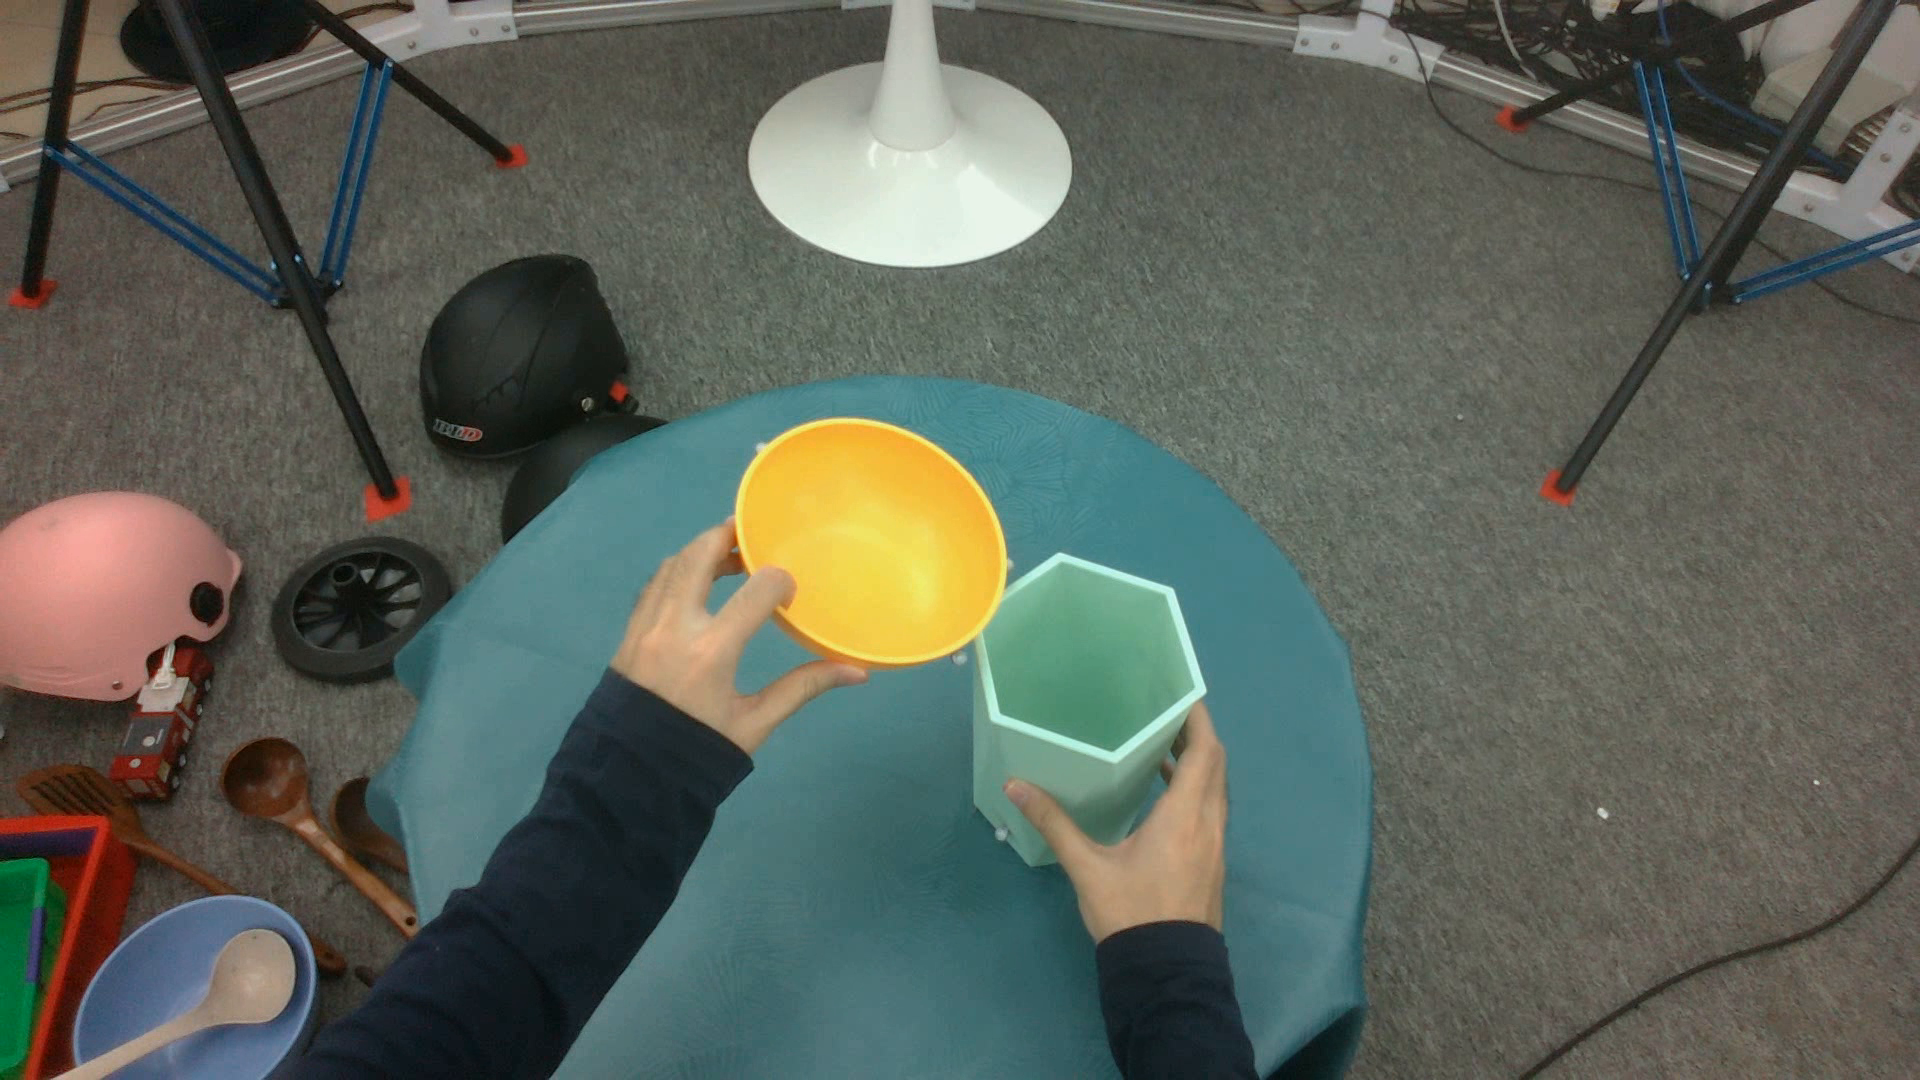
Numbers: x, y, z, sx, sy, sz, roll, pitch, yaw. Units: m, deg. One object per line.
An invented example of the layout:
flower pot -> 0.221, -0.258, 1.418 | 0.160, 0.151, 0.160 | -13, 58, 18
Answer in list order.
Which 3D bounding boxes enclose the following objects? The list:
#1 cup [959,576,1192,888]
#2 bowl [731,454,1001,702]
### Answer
cup -> 0.058, 0.119, 0.792 | 0.131, 0.162, 0.116 | 16, 52, 10
bowl -> -0.056, 0.029, 0.732 | 0.145, 0.060, 0.146 | 11, 55, -16
